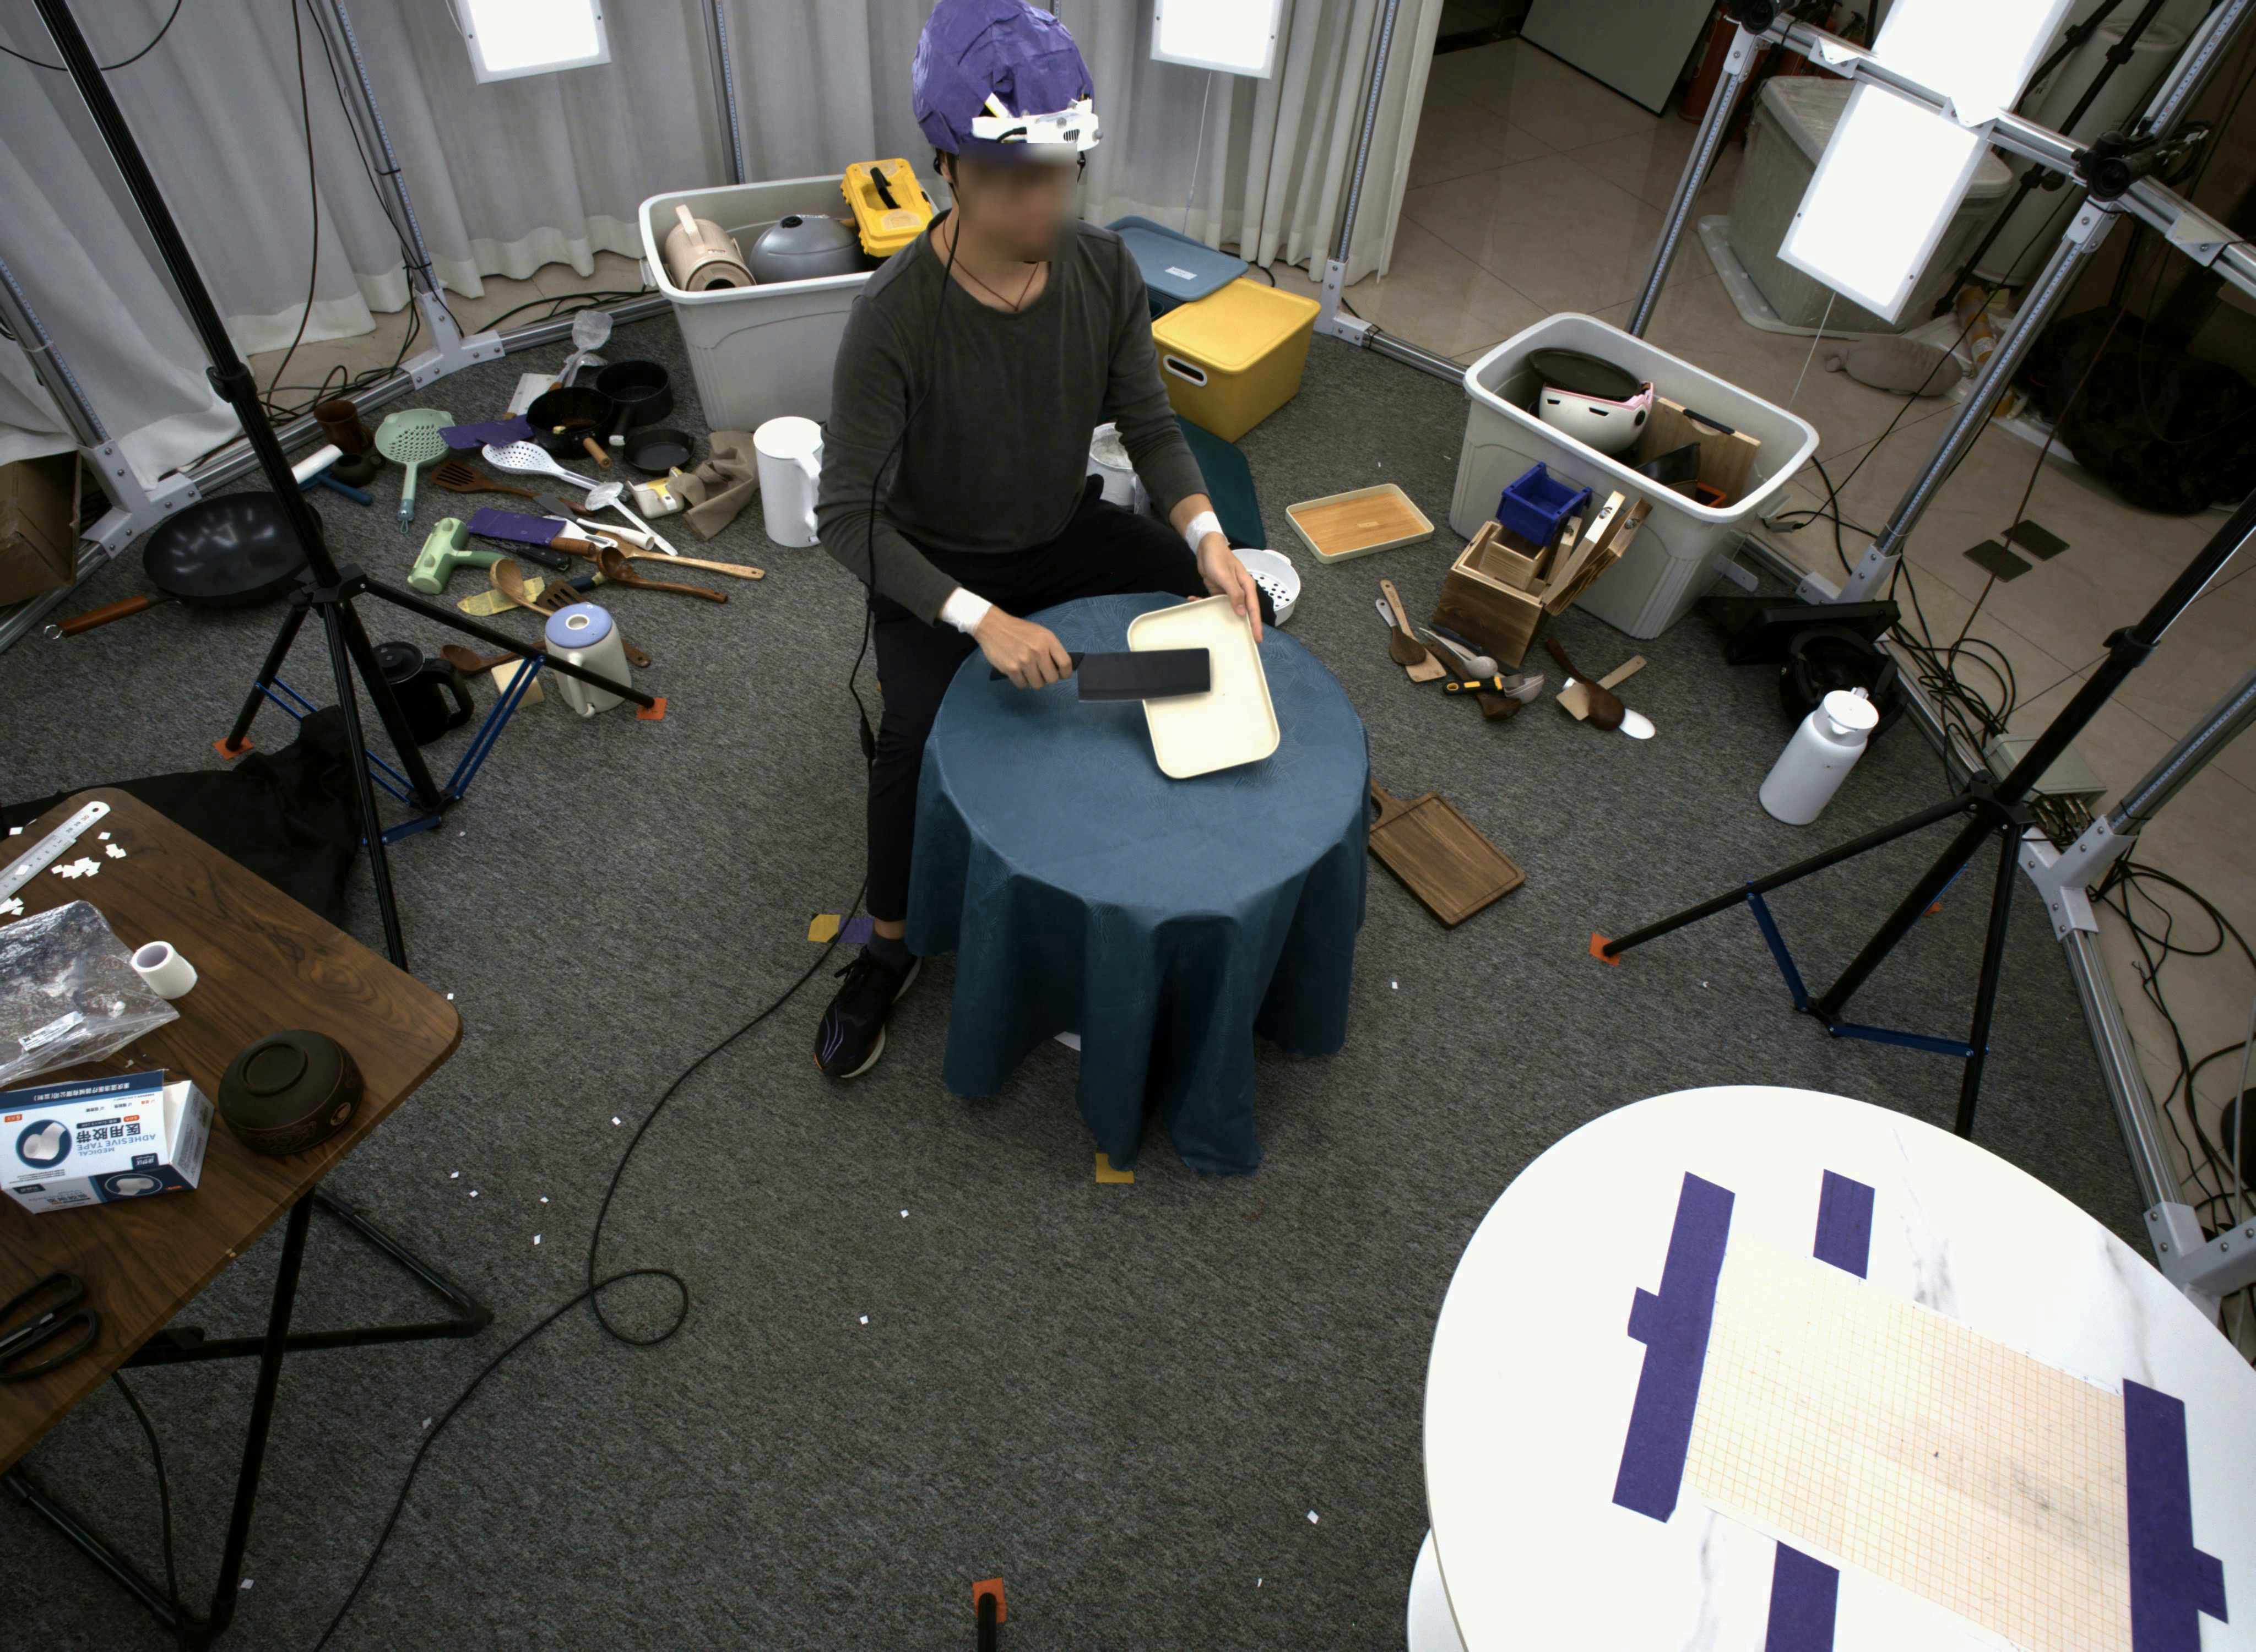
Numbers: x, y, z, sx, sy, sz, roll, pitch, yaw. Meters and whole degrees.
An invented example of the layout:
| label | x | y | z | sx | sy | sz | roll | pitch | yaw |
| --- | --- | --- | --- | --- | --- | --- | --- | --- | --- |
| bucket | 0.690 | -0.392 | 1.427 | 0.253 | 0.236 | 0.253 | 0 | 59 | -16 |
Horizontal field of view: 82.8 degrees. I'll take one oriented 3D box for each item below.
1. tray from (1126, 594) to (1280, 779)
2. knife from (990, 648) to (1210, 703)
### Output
| label | x | y | z | sx | sy | sz | roll | pitch | yaw |
| --- | --- | --- | --- | --- | --- | --- | --- | --- | --- |
| tray | 0.101 | -0.190 | 1.748 | 0.171 | 0.017 | 0.242 | -13 | 77 | 1 |
| knife | -0.038 | -0.207 | 1.751 | 0.302 | 0.021 | 0.081 | 2 | 86 | 6 |
